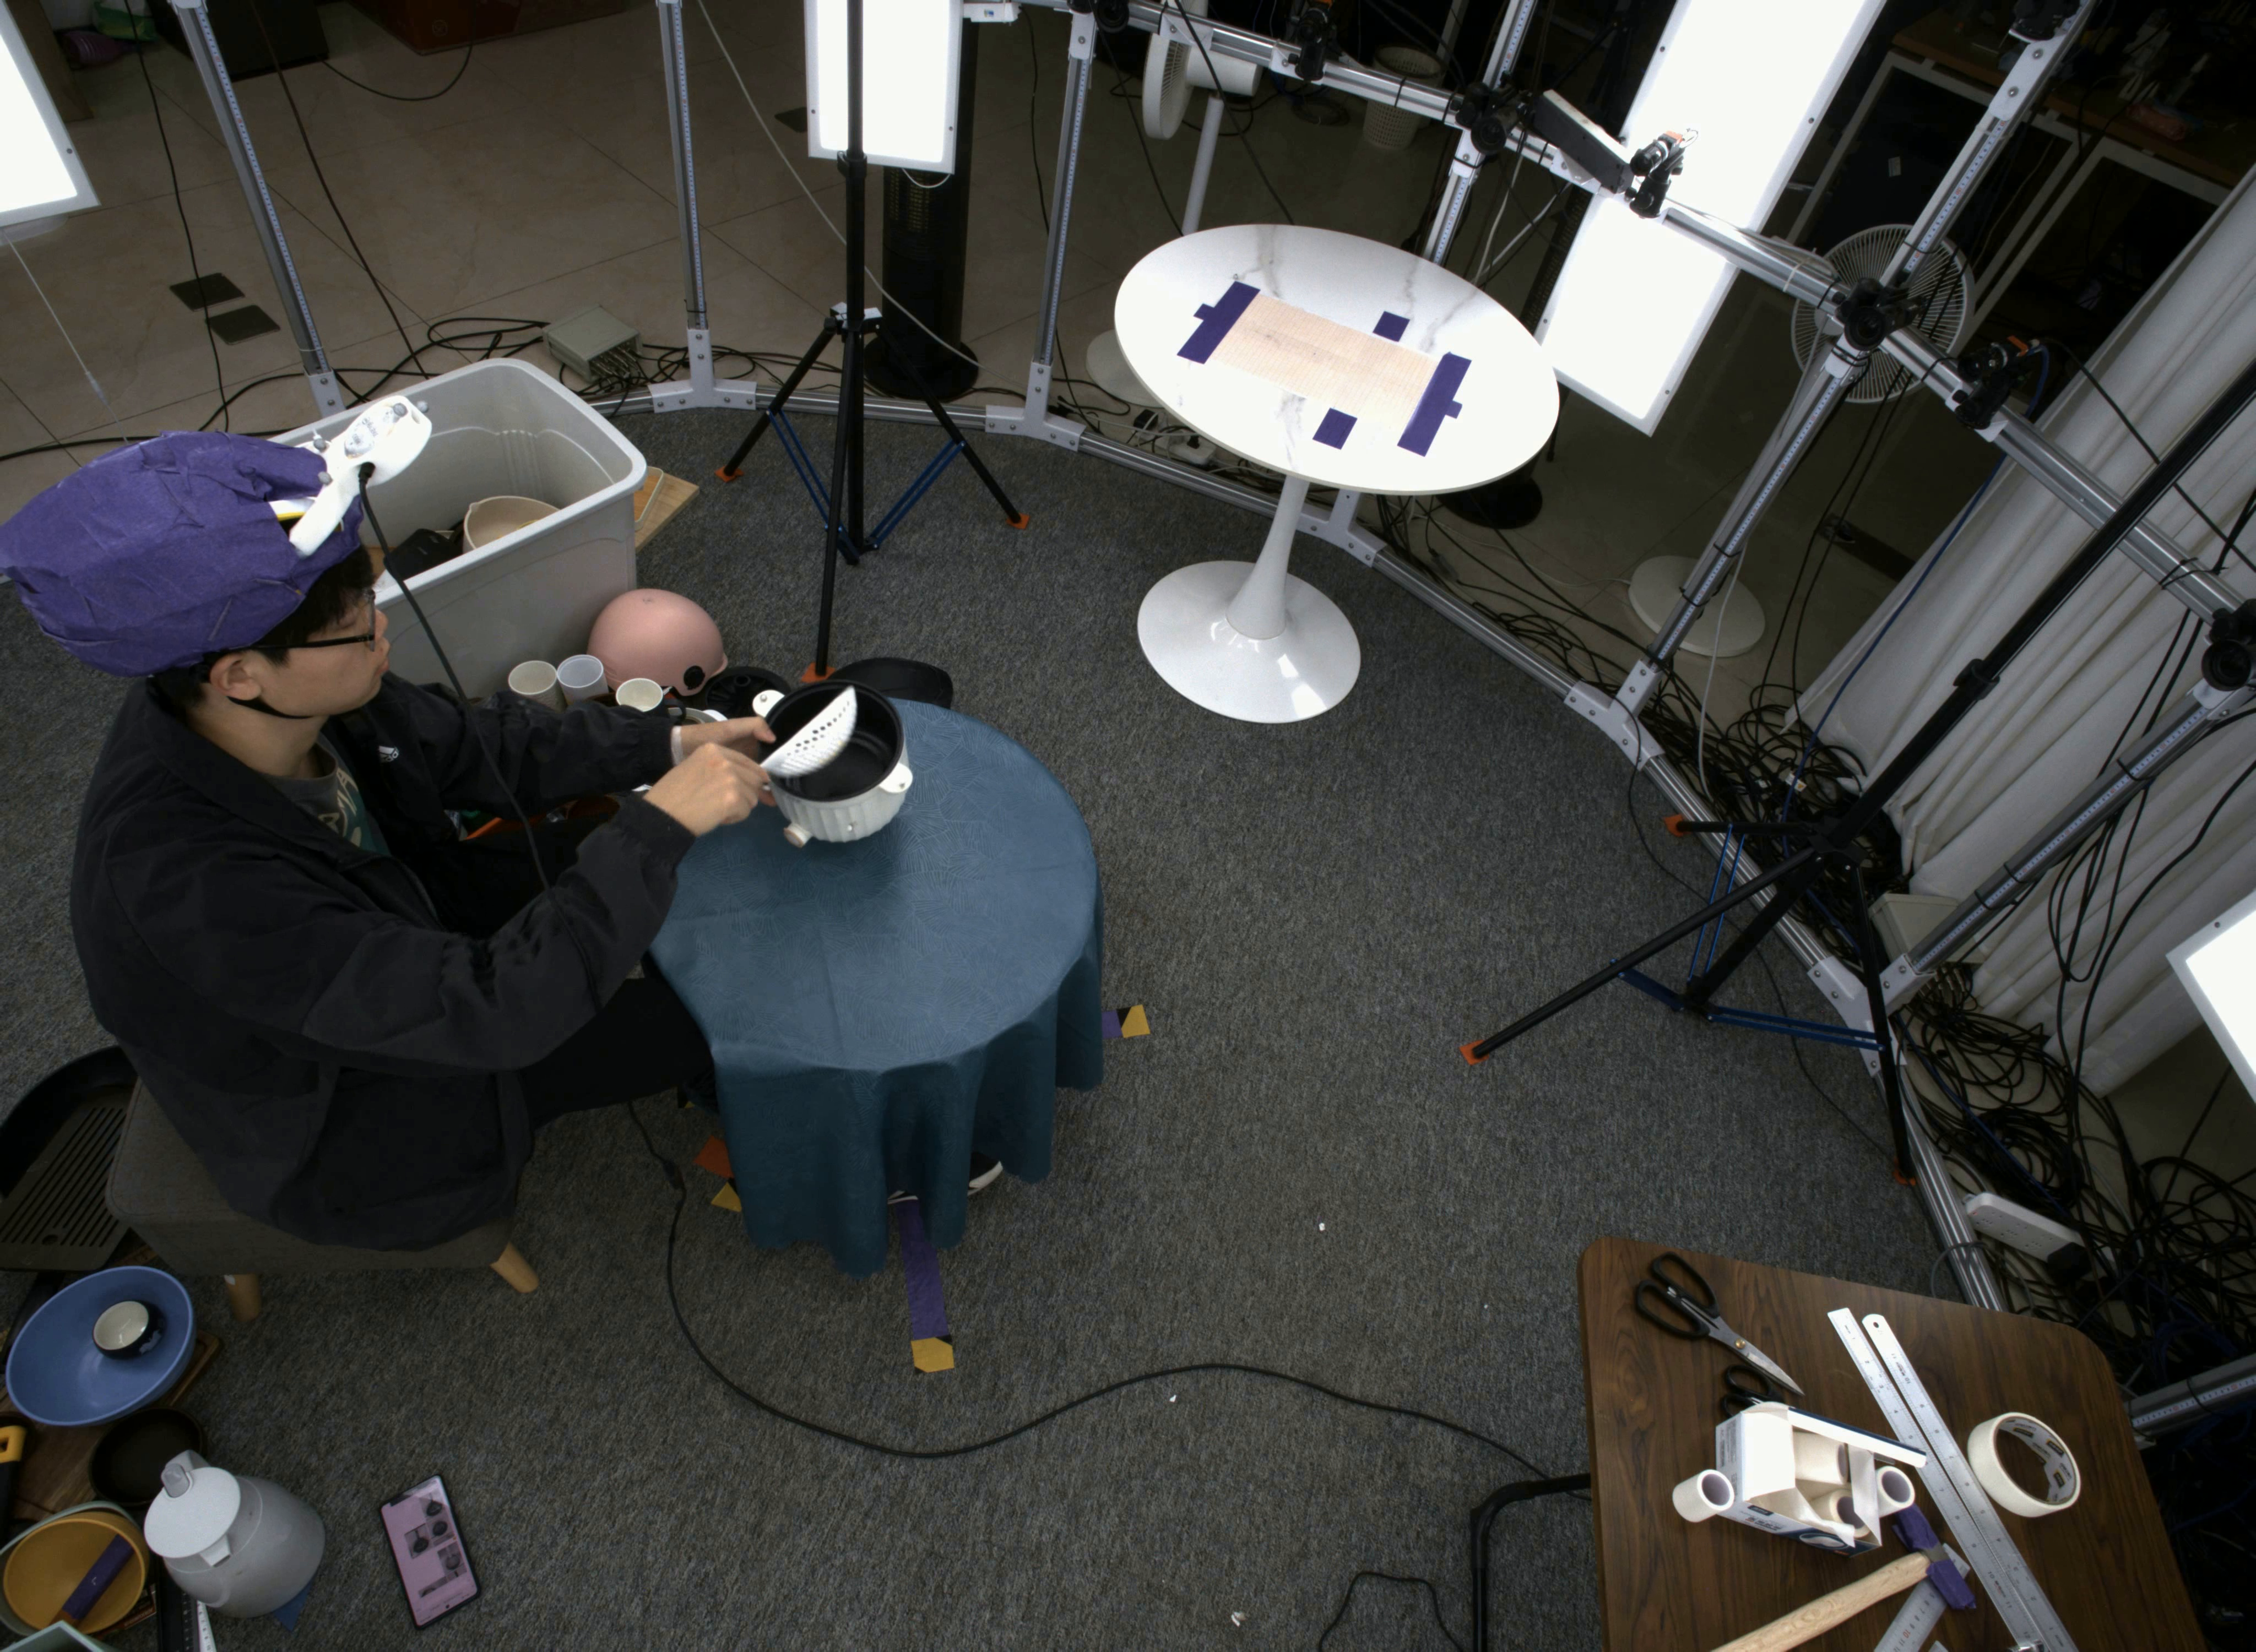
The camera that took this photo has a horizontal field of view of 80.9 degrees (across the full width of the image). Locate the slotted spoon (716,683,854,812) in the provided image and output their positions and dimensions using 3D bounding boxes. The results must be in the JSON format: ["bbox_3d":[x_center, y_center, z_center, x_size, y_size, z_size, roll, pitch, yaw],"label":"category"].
[{"bbox_3d":[-0.393,-0.074,1.465,0.050,0.137,0.347,41,21,1],"label":"slotted spoon"}]

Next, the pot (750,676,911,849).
[{"bbox_3d":[-0.374,-0.071,1.653,0.235,0.146,0.190,29,60,12],"label":"pot"}]
